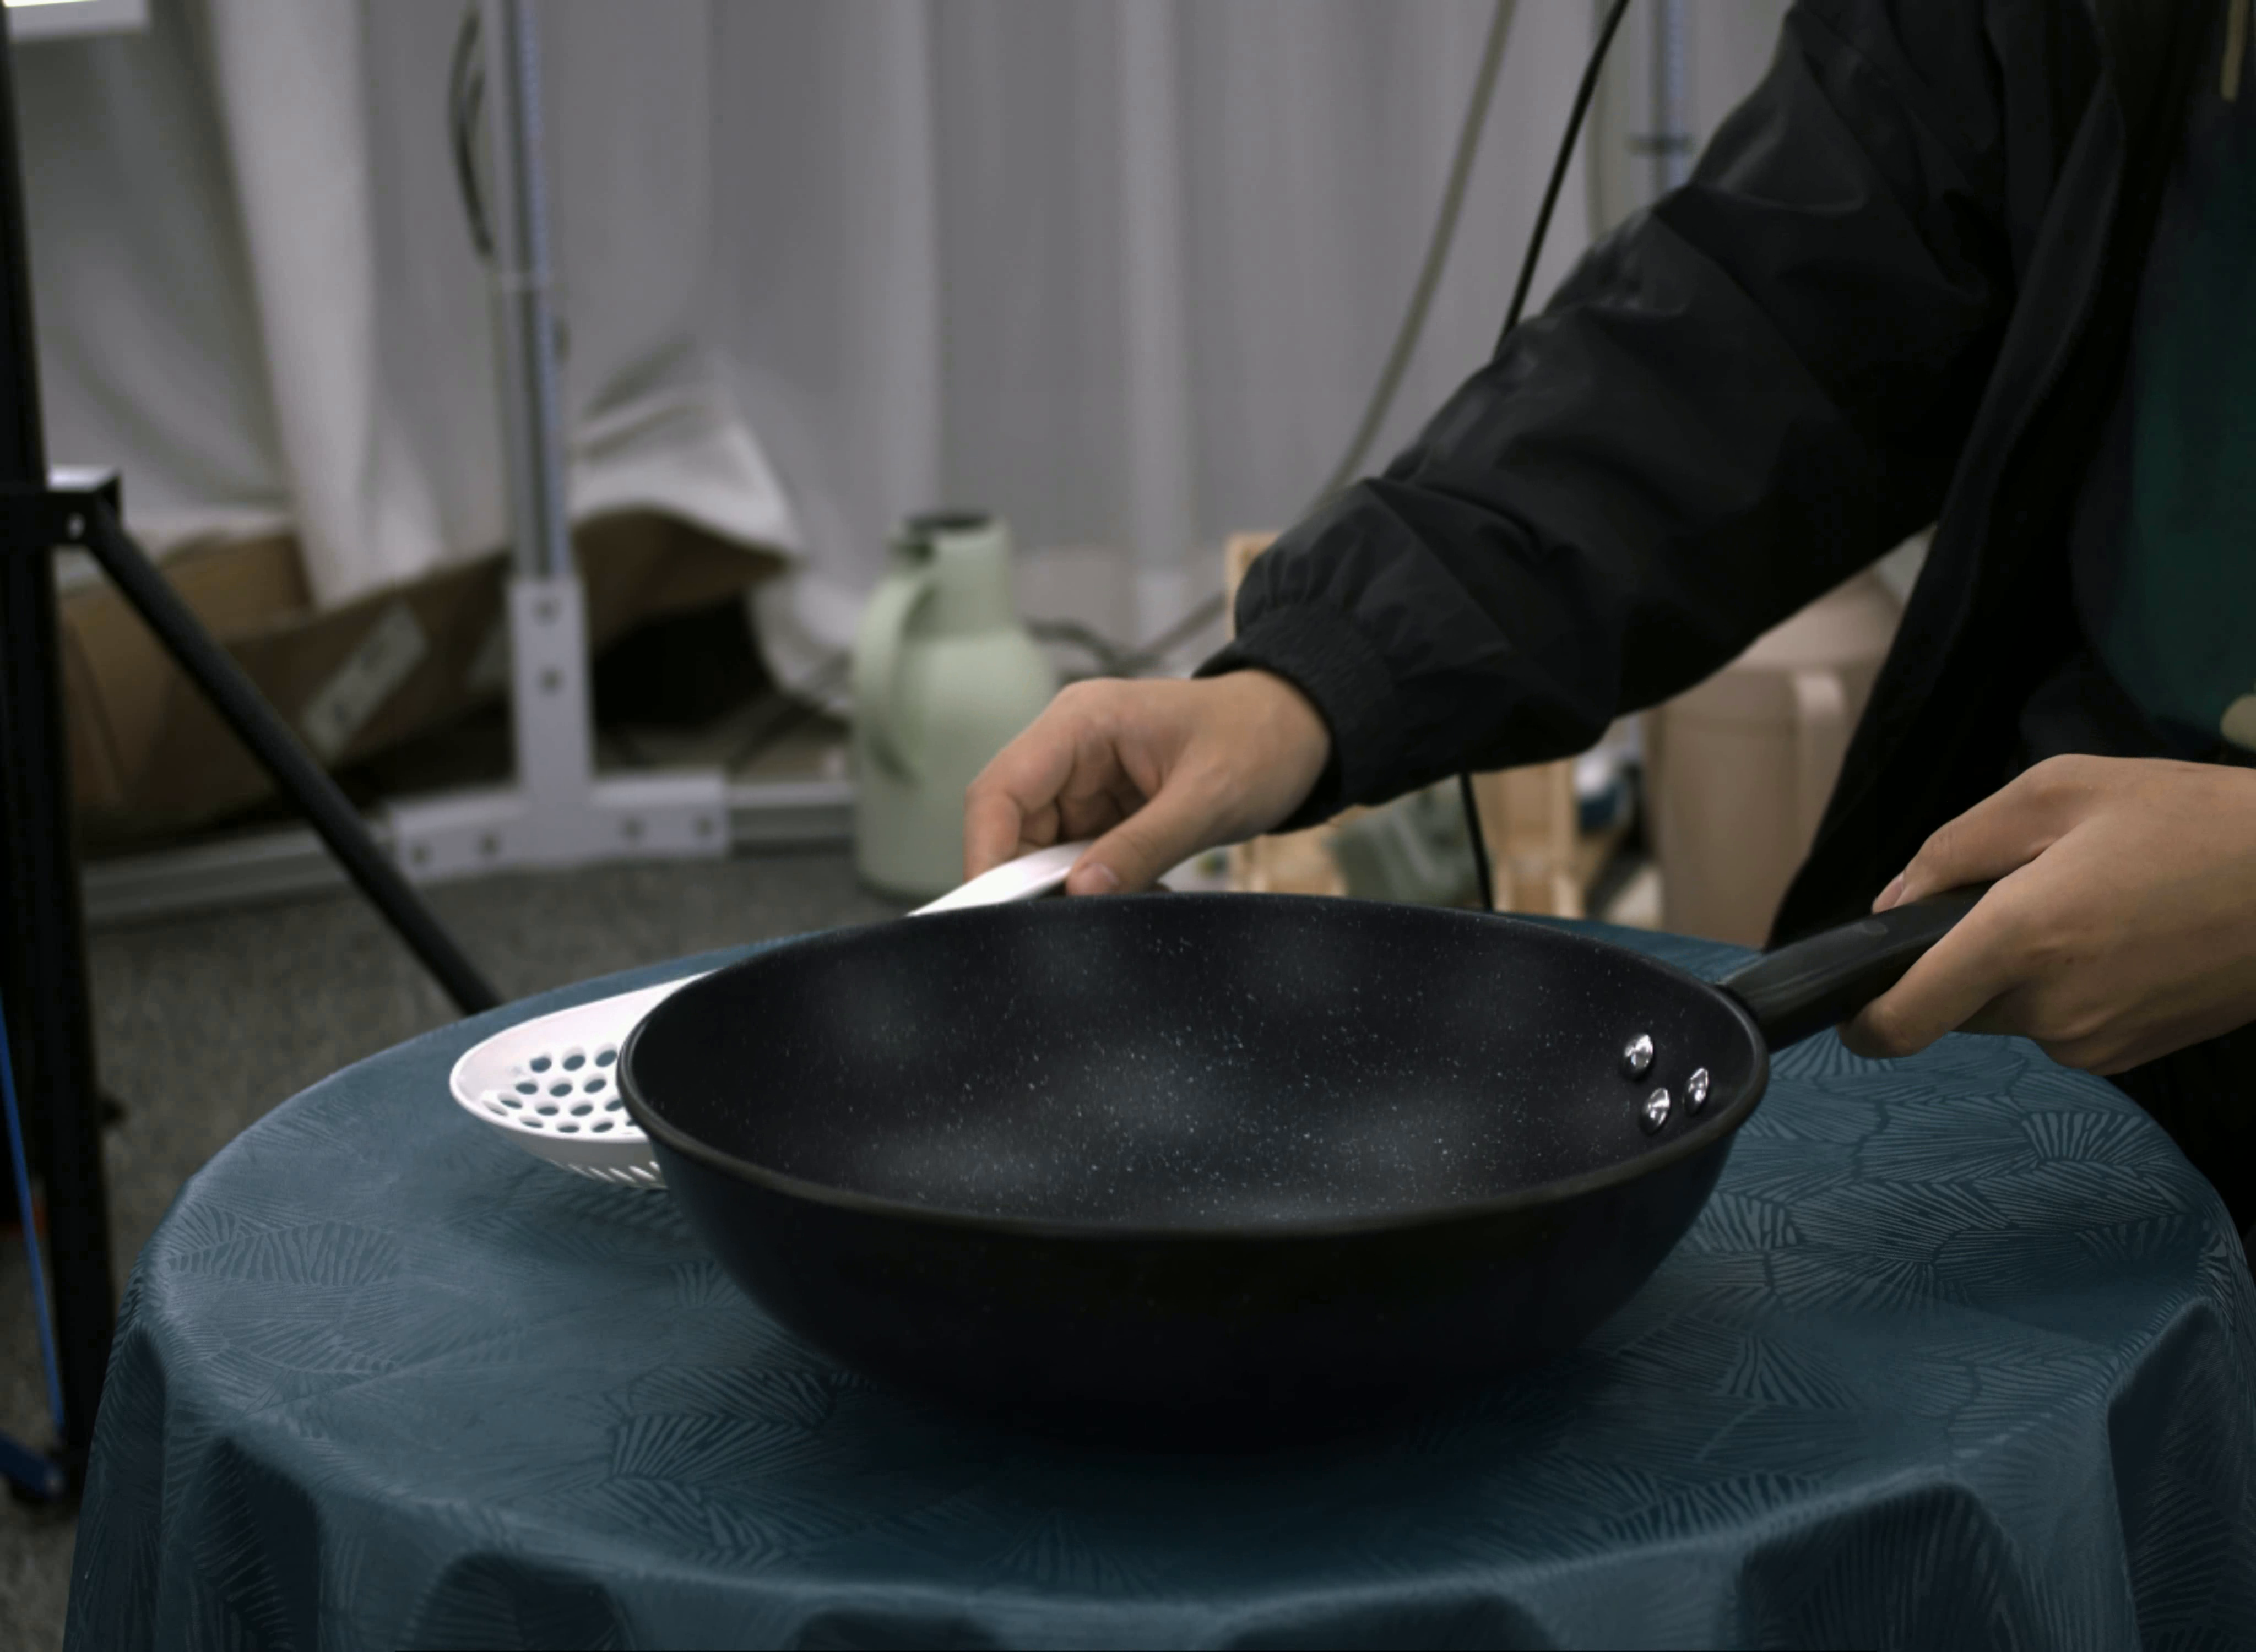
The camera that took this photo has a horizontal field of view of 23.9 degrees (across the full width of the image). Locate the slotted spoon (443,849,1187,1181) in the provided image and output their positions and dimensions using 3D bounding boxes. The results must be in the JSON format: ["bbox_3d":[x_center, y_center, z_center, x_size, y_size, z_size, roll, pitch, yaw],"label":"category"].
[{"bbox_3d":[-0.073,0.047,1.674,0.139,0.050,0.342,4,22,34],"label":"slotted spoon"}]

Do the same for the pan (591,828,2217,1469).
[{"bbox_3d":[0.089,0.081,1.447,0.468,0.111,0.316,-7,16,-19],"label":"pan"}]
